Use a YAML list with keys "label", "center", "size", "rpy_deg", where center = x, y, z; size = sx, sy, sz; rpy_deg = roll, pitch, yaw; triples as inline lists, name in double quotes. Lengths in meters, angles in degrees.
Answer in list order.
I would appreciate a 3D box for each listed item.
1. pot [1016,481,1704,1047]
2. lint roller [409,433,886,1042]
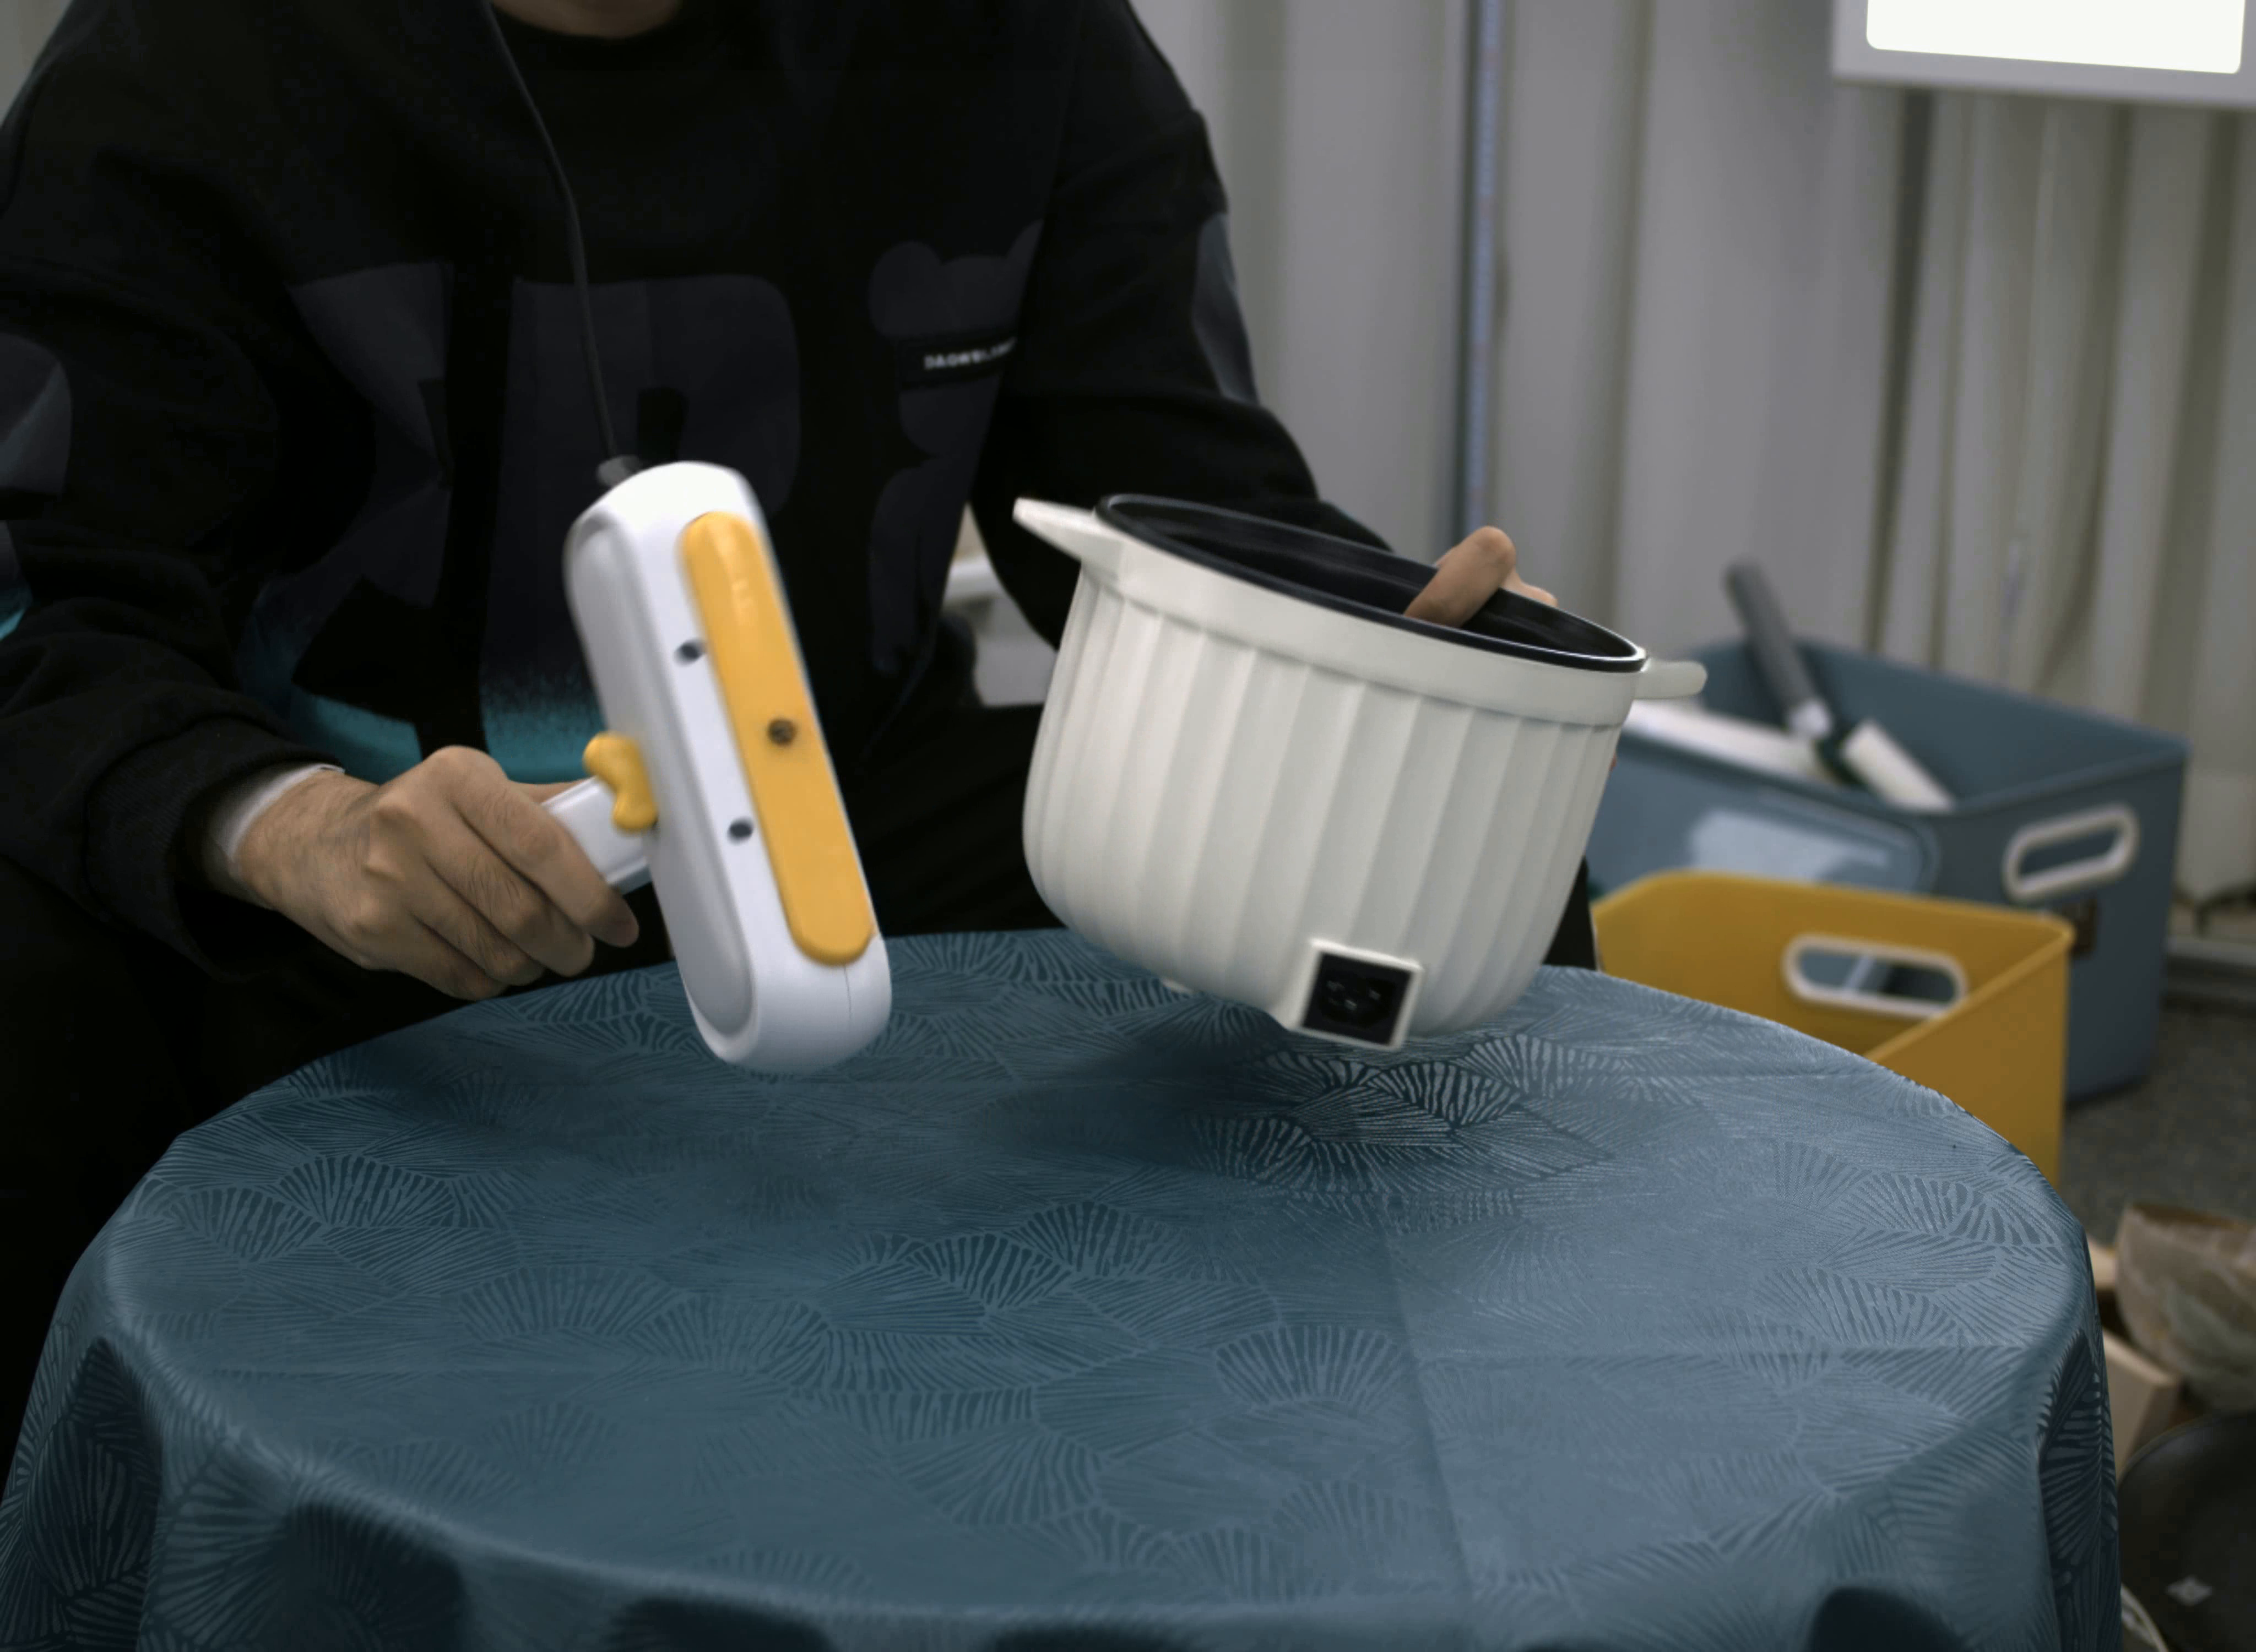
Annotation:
- label: "pot"
  center: [0.055, -0.020, 1.683]
  size: [0.242, 0.143, 0.188]
  rpy_deg: [15, 12, -20]
- label: "lint roller"
  center: [-0.160, -0.003, 1.653]
  size: [0.074, 0.192, 0.192]
  rpy_deg: [-10, -16, -39]
